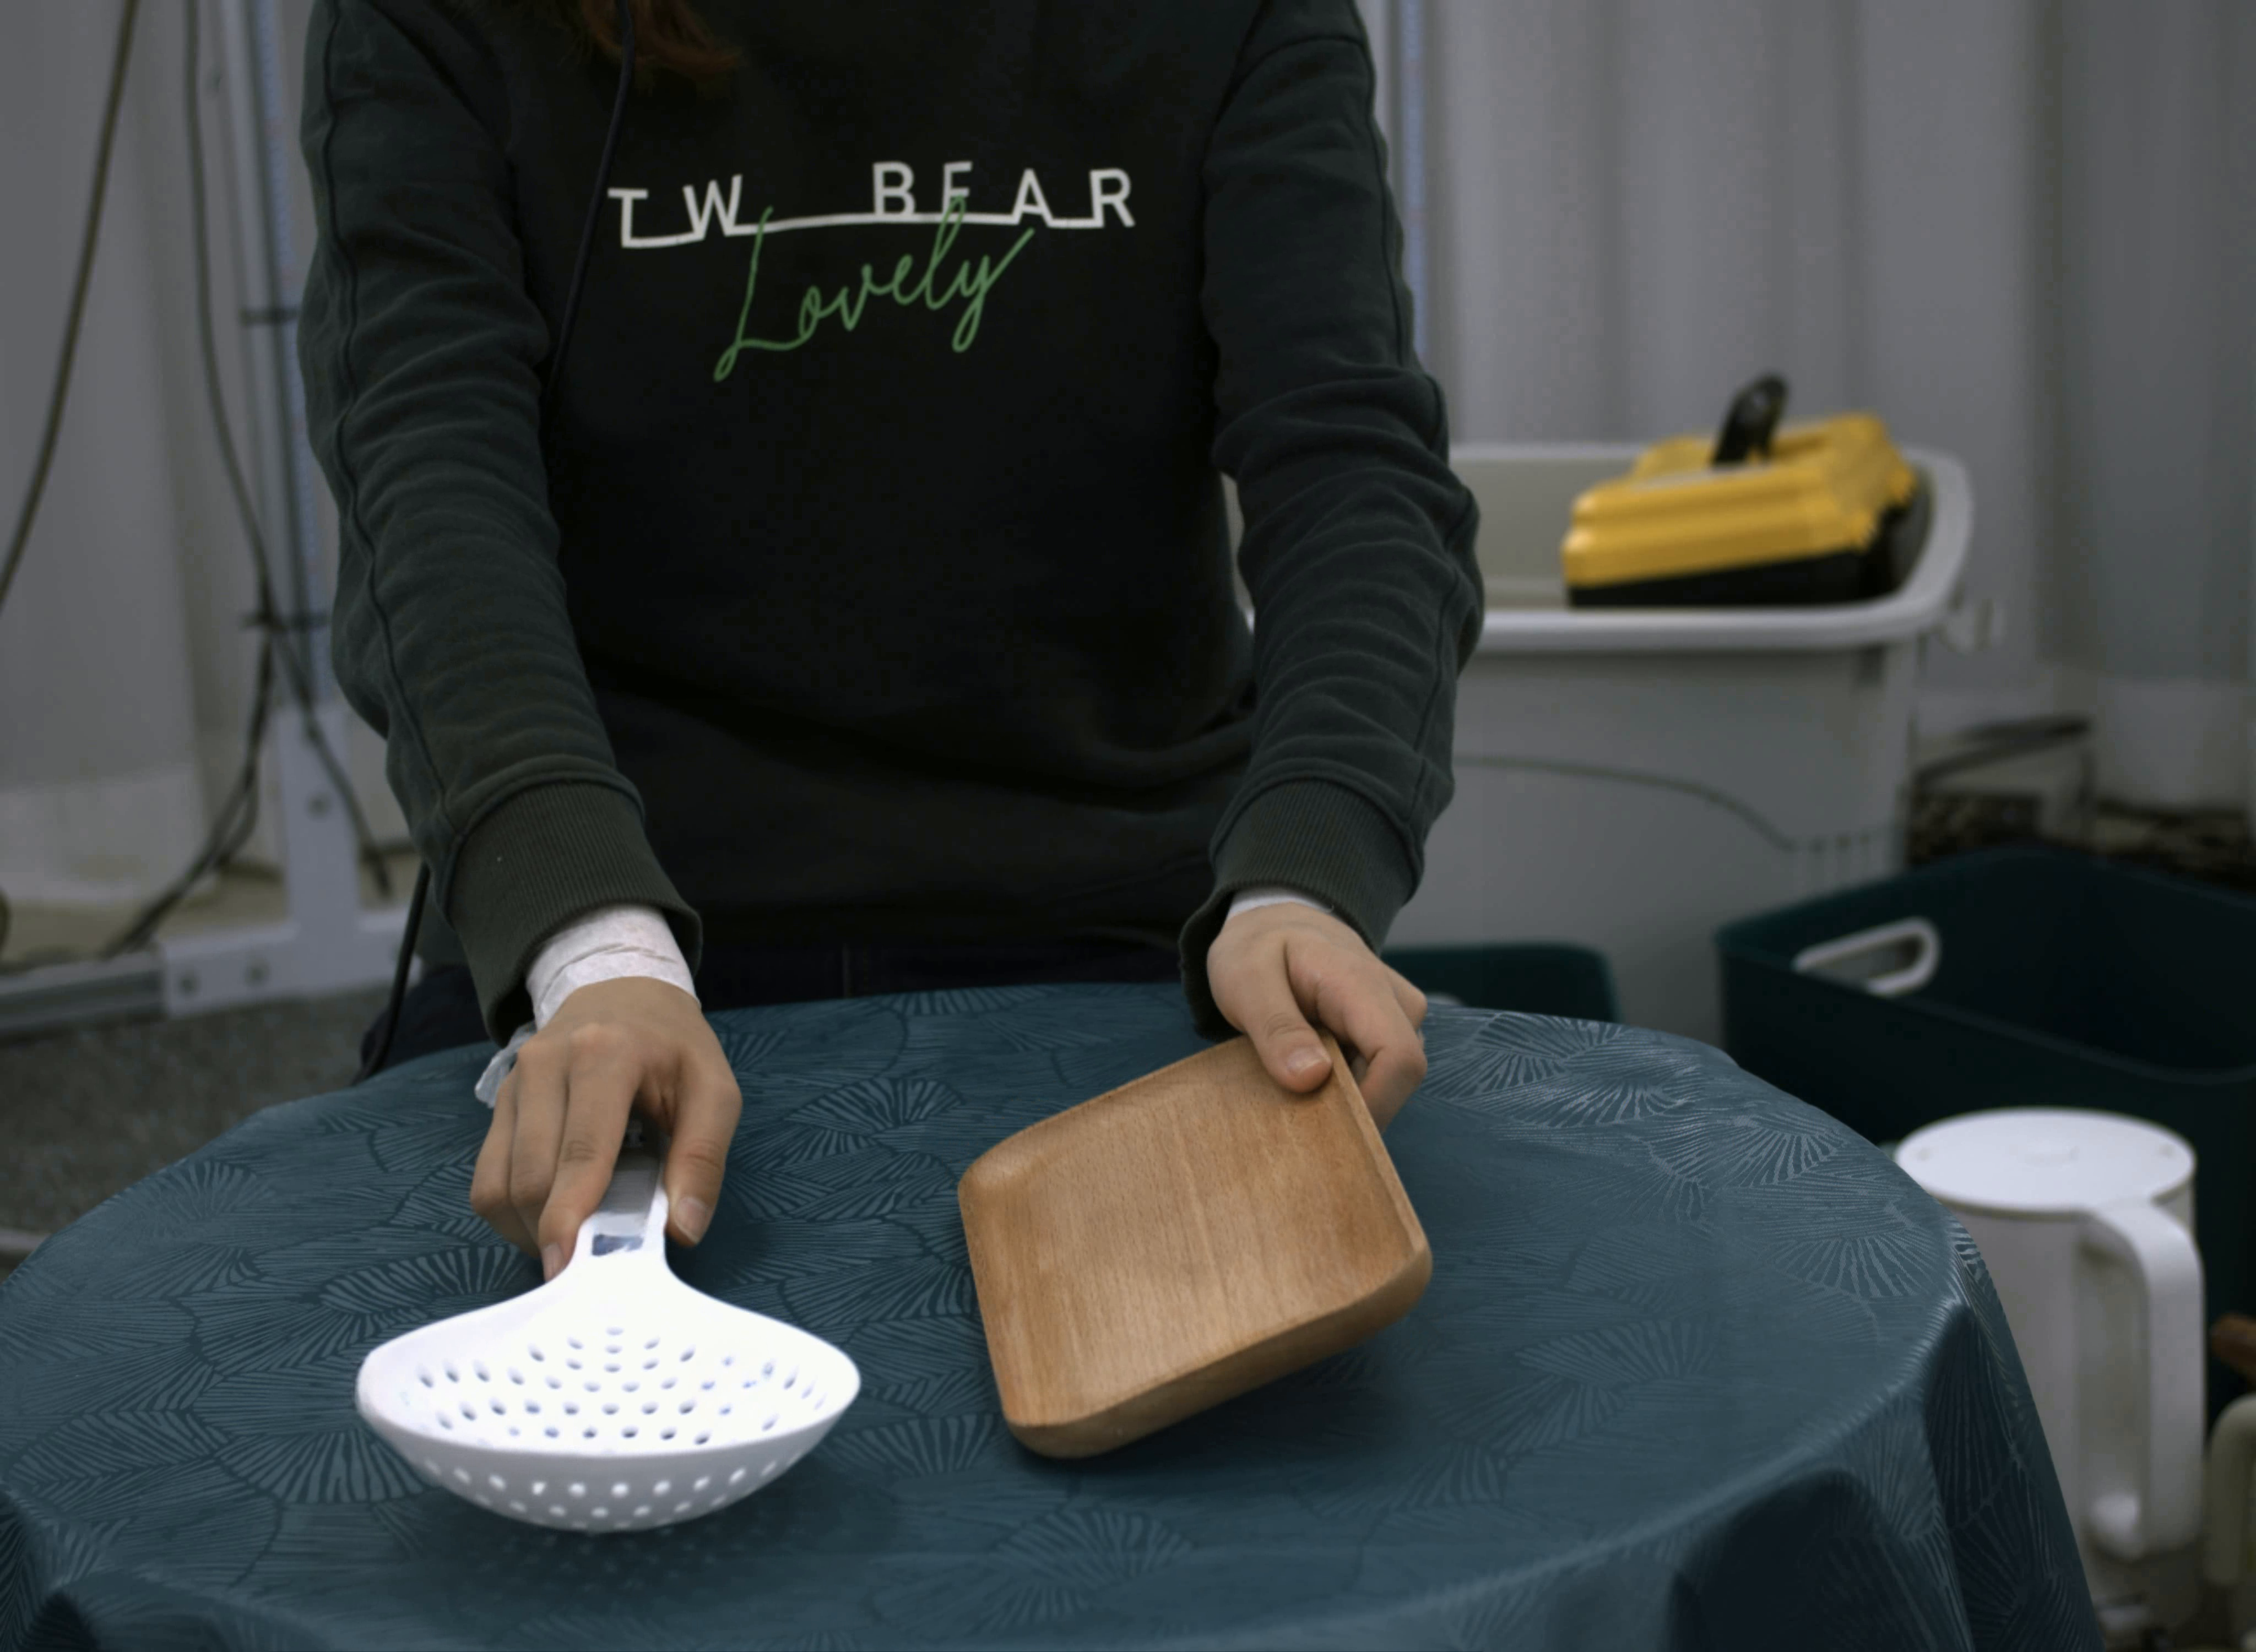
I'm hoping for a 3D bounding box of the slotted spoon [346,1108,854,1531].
[{"bbox_3d":[-0.147,0.132,1.571,0.135,0.045,0.352,1,16,-3],"label":"slotted spoon"}]

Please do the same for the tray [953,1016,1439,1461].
[{"bbox_3d":[0.017,0.117,1.596,0.130,0.023,0.252,-21,15,0],"label":"tray"}]
